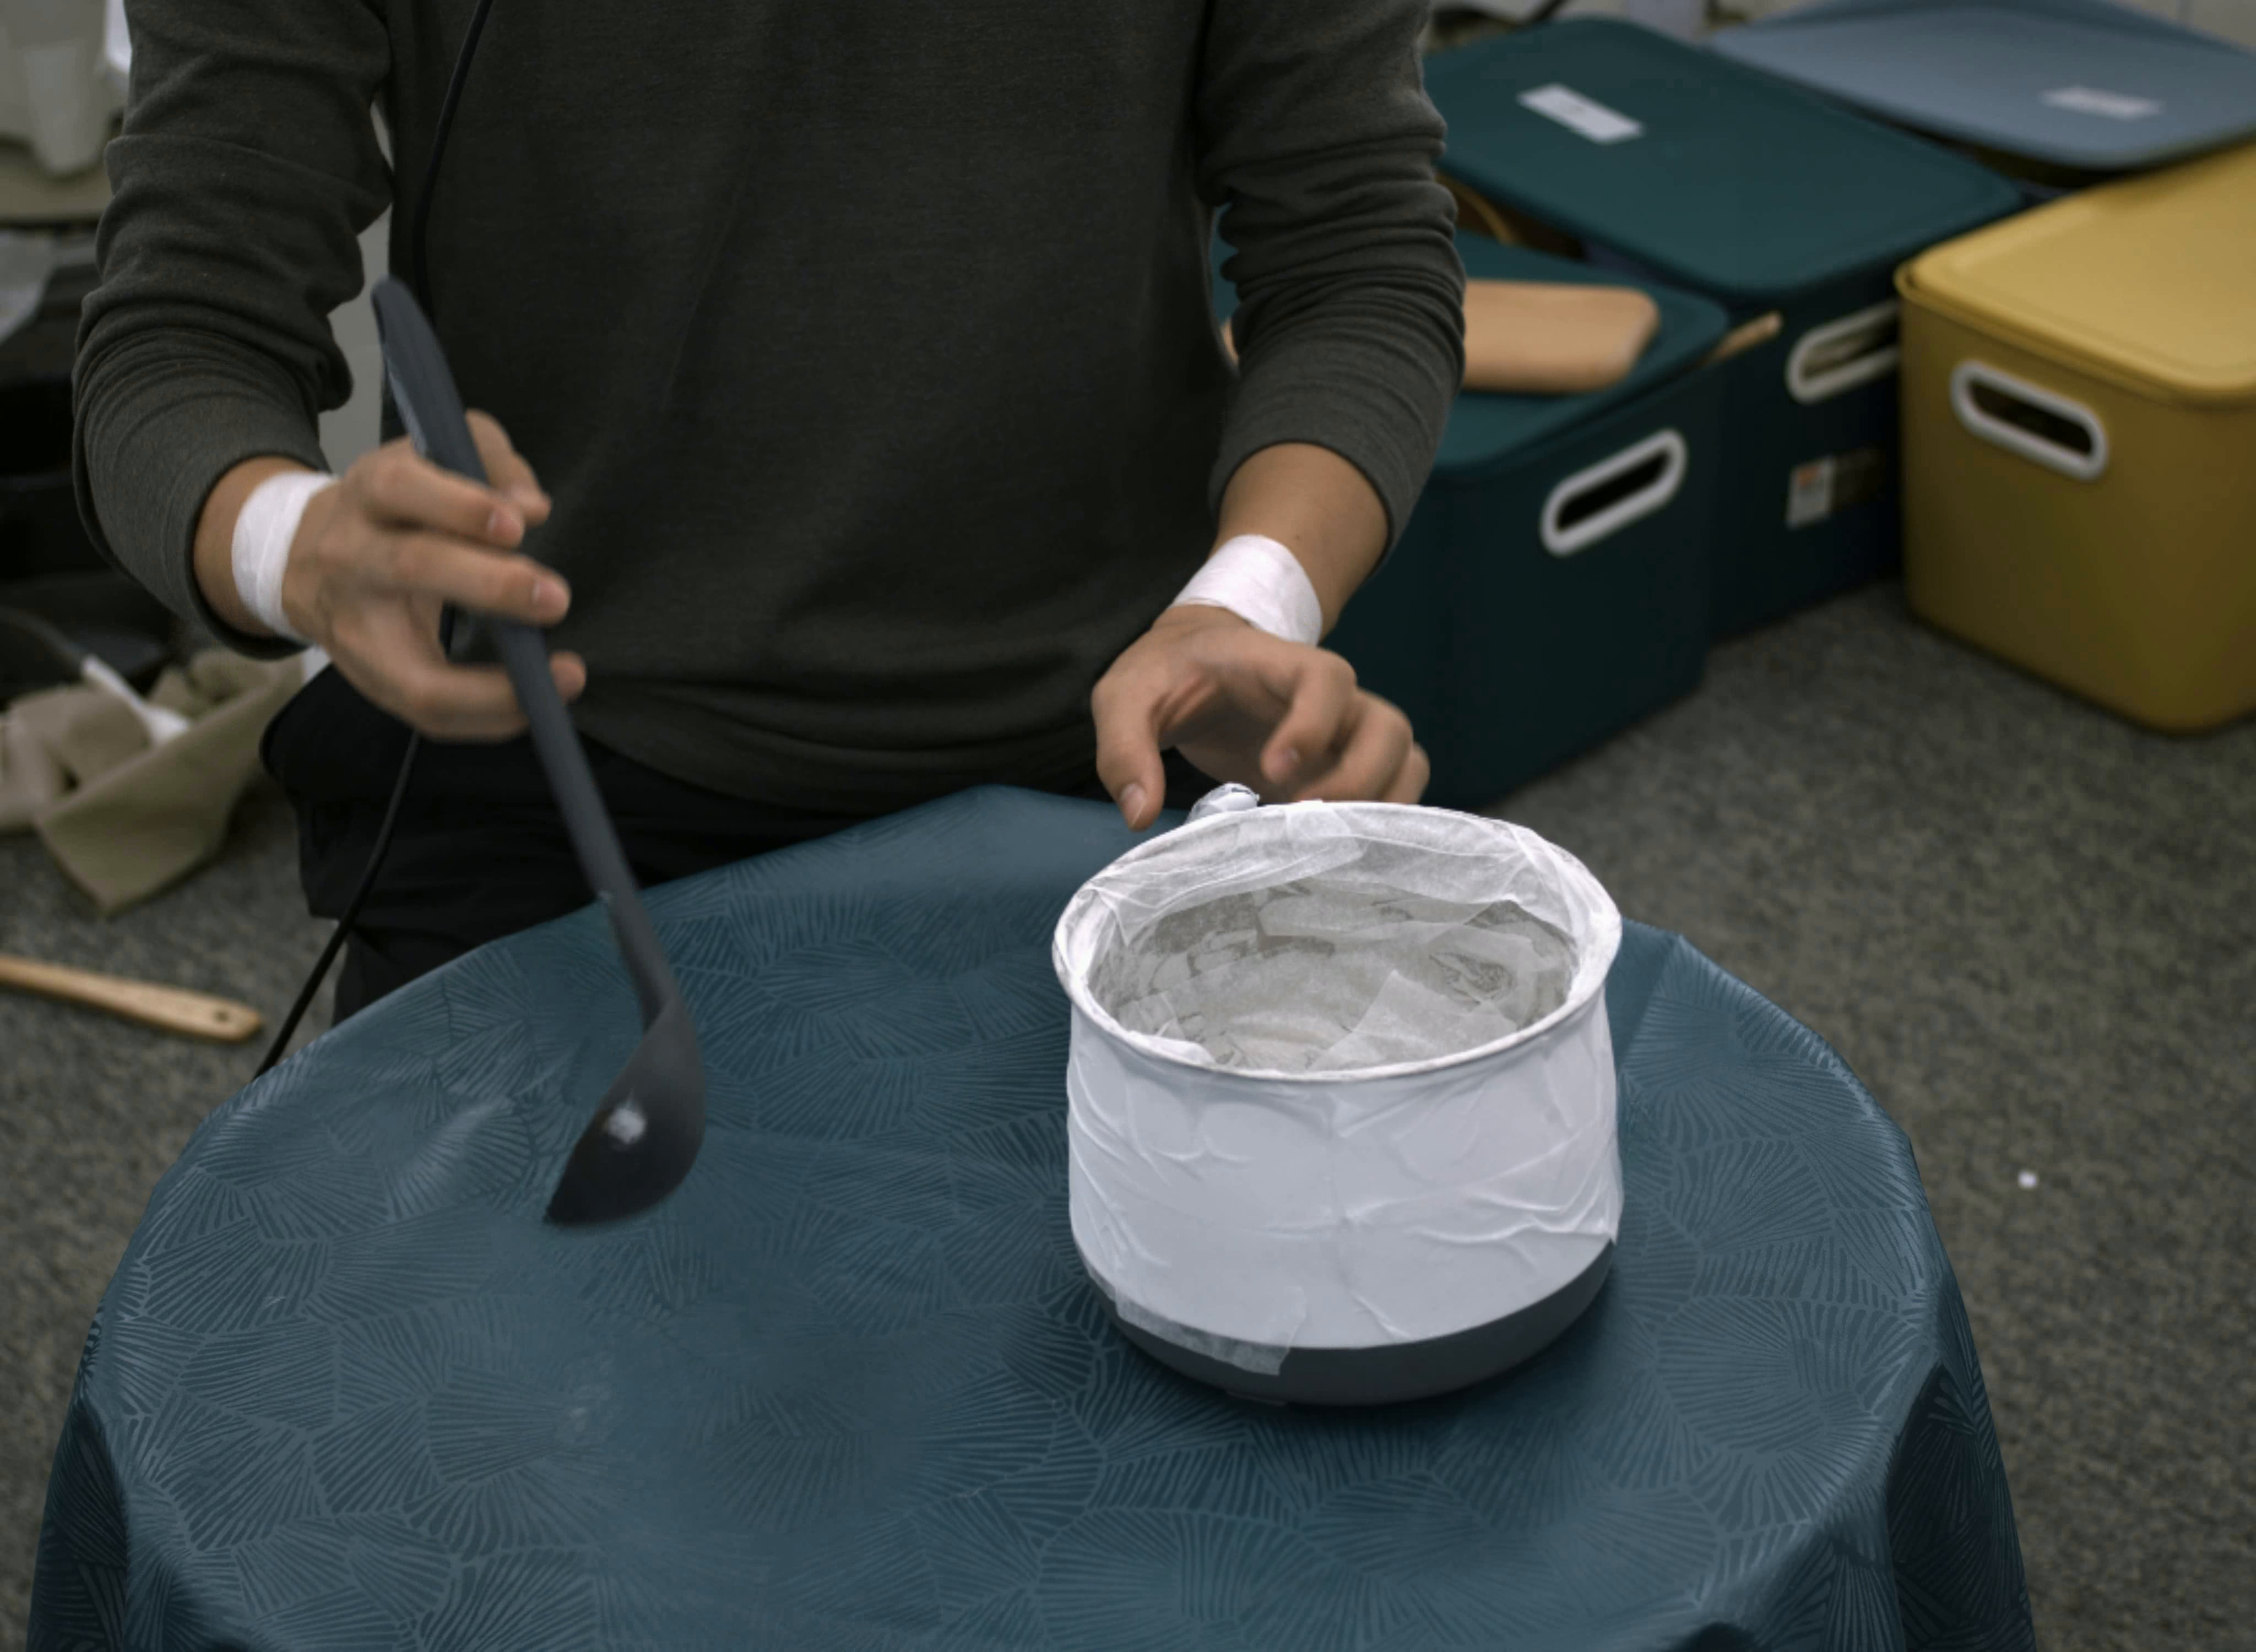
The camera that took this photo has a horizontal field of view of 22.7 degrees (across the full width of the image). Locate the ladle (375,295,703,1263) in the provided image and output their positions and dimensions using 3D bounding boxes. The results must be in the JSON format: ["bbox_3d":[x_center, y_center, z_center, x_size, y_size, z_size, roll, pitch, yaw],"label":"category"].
[{"bbox_3d":[-0.197,-0.019,1.706,0.064,0.085,0.317,-13,71,-25],"label":"ladle"}]

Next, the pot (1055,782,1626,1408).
[{"bbox_3d":[0.059,0.078,1.795,0.179,0.135,0.235,-11,28,-16],"label":"pot"}]
